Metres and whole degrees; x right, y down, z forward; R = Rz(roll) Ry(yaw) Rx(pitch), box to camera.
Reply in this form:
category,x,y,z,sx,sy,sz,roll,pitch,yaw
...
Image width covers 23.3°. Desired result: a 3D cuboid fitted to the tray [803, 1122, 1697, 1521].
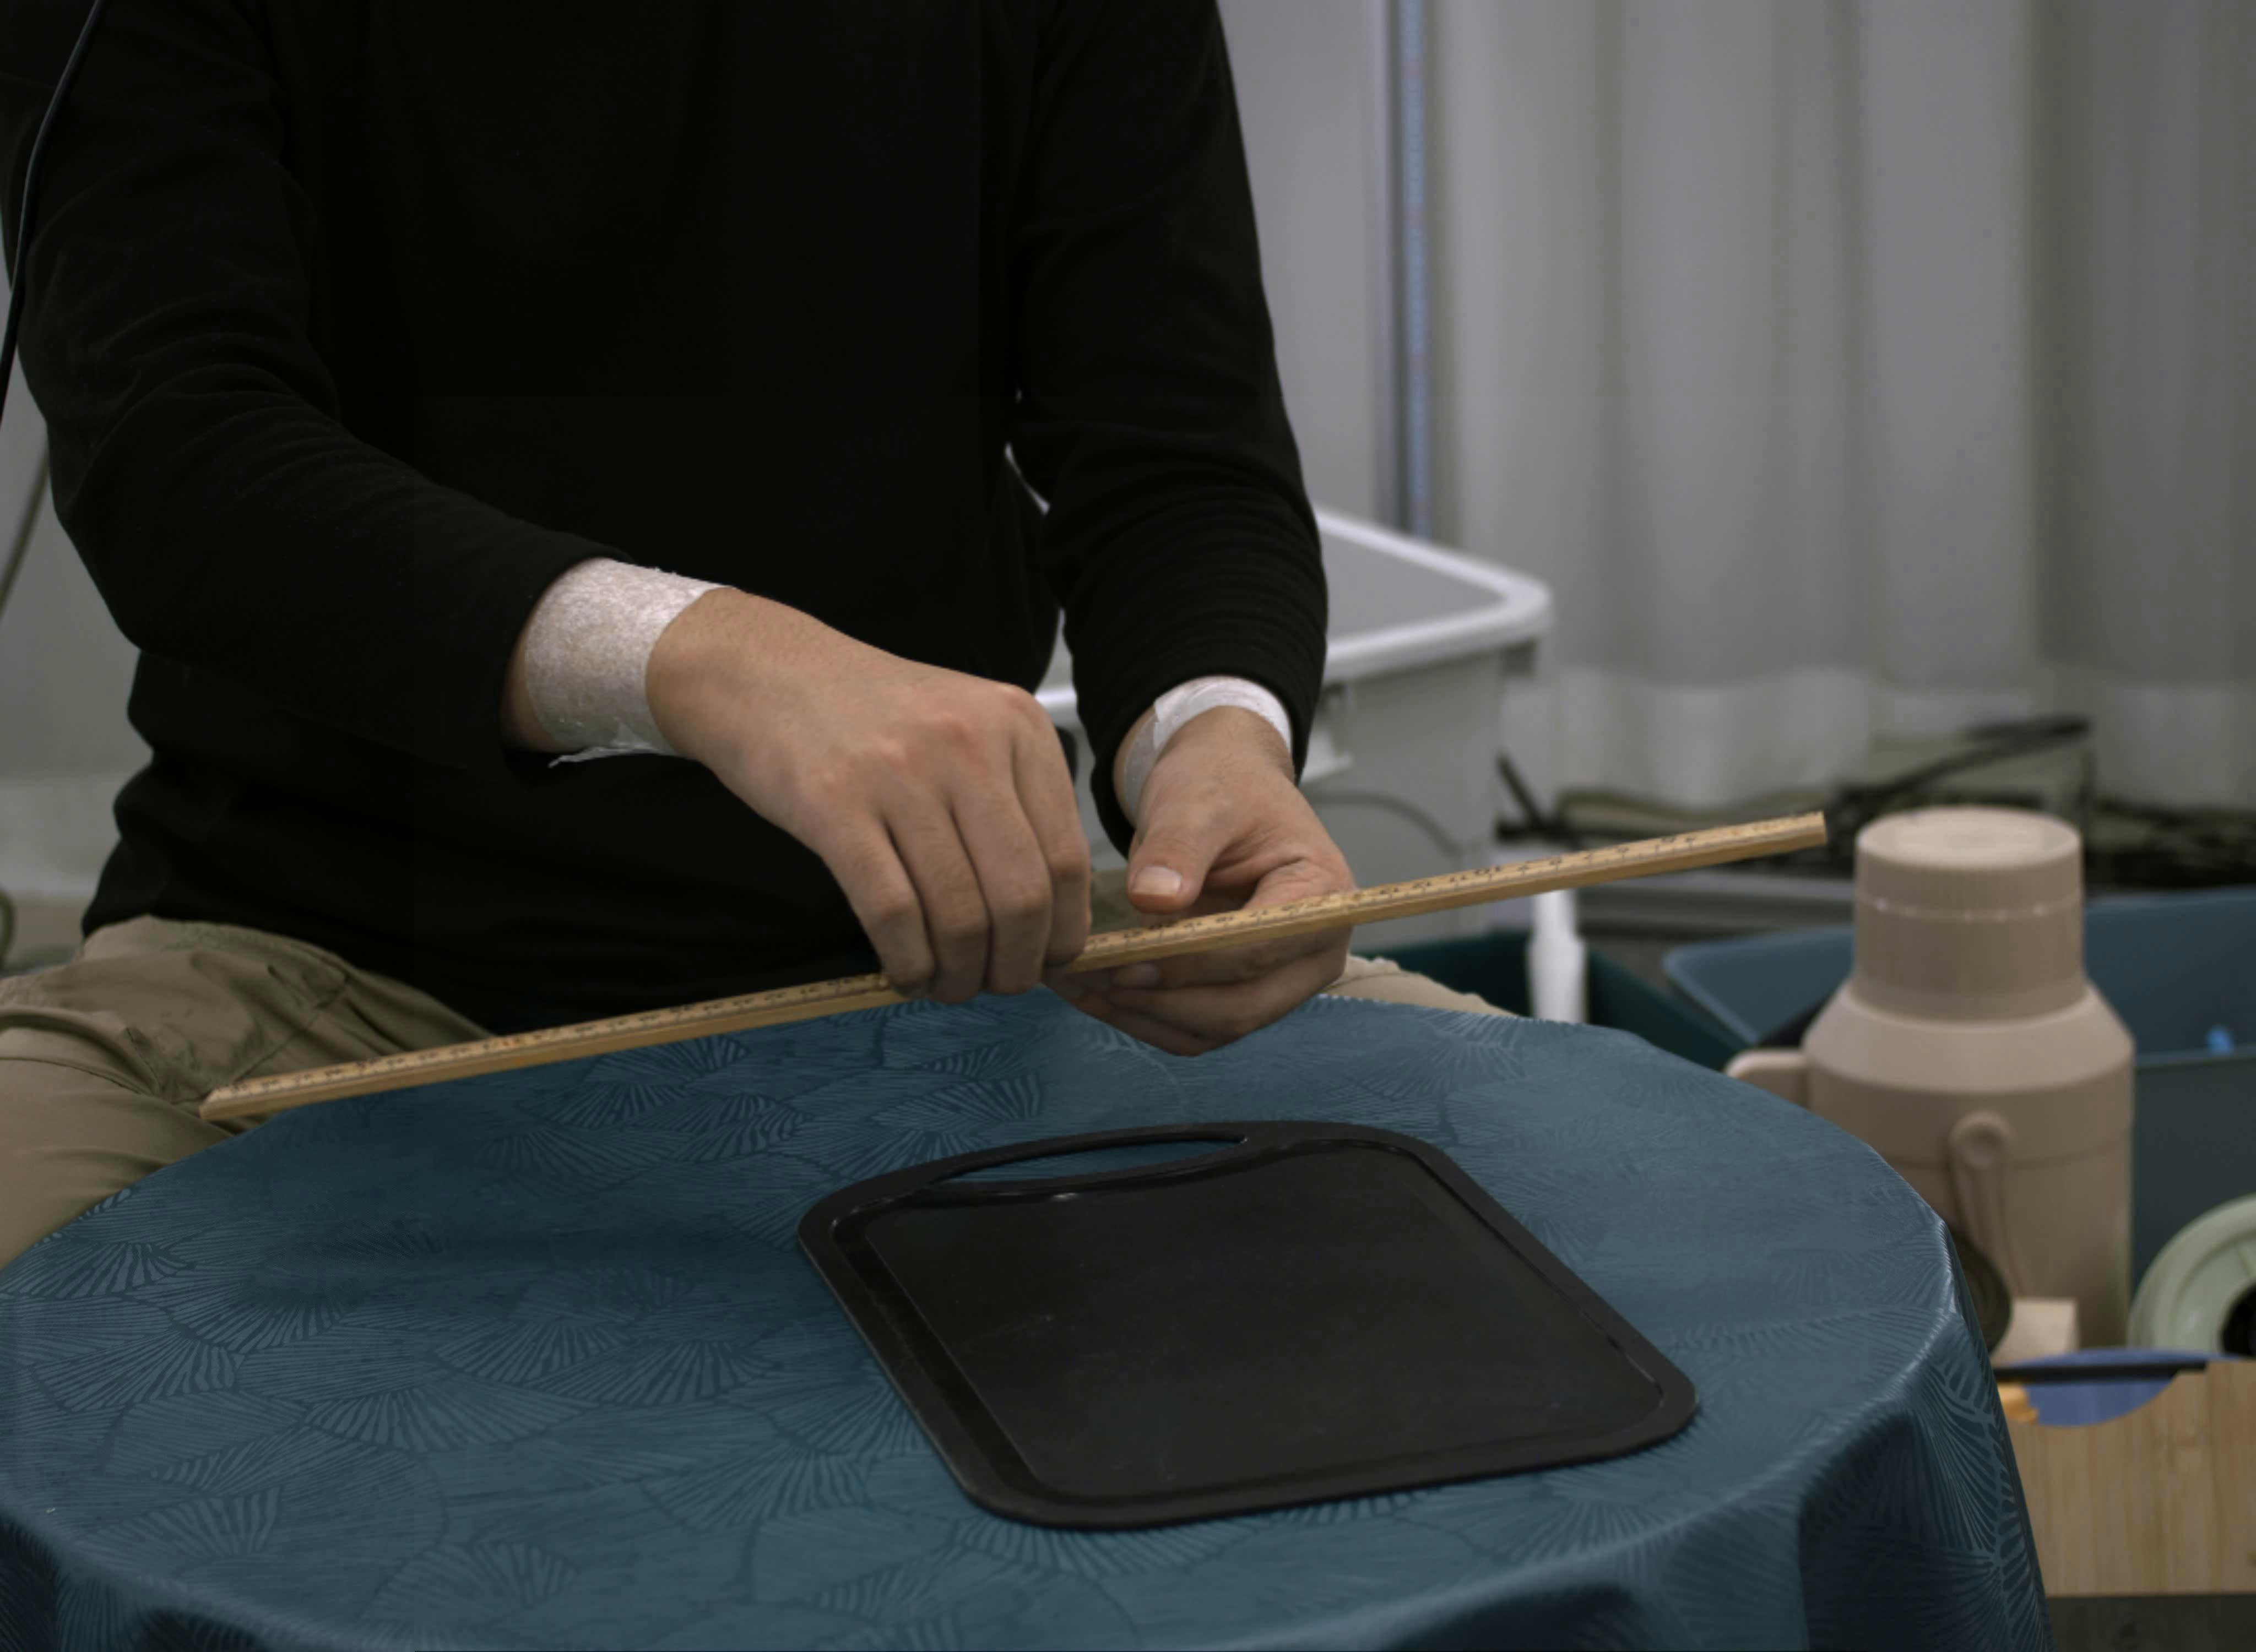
category,x,y,z,sx,sy,sz,roll,pitch,yaw
tray,0.025,0.138,1.608,0.210,0.010,0.328,-6,15,-13

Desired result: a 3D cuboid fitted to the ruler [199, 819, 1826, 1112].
category,x,y,z,sx,sy,sz,roll,pitch,yaw
ruler,-0.039,0.042,1.639,0.499,0.006,0.027,-9,11,9
